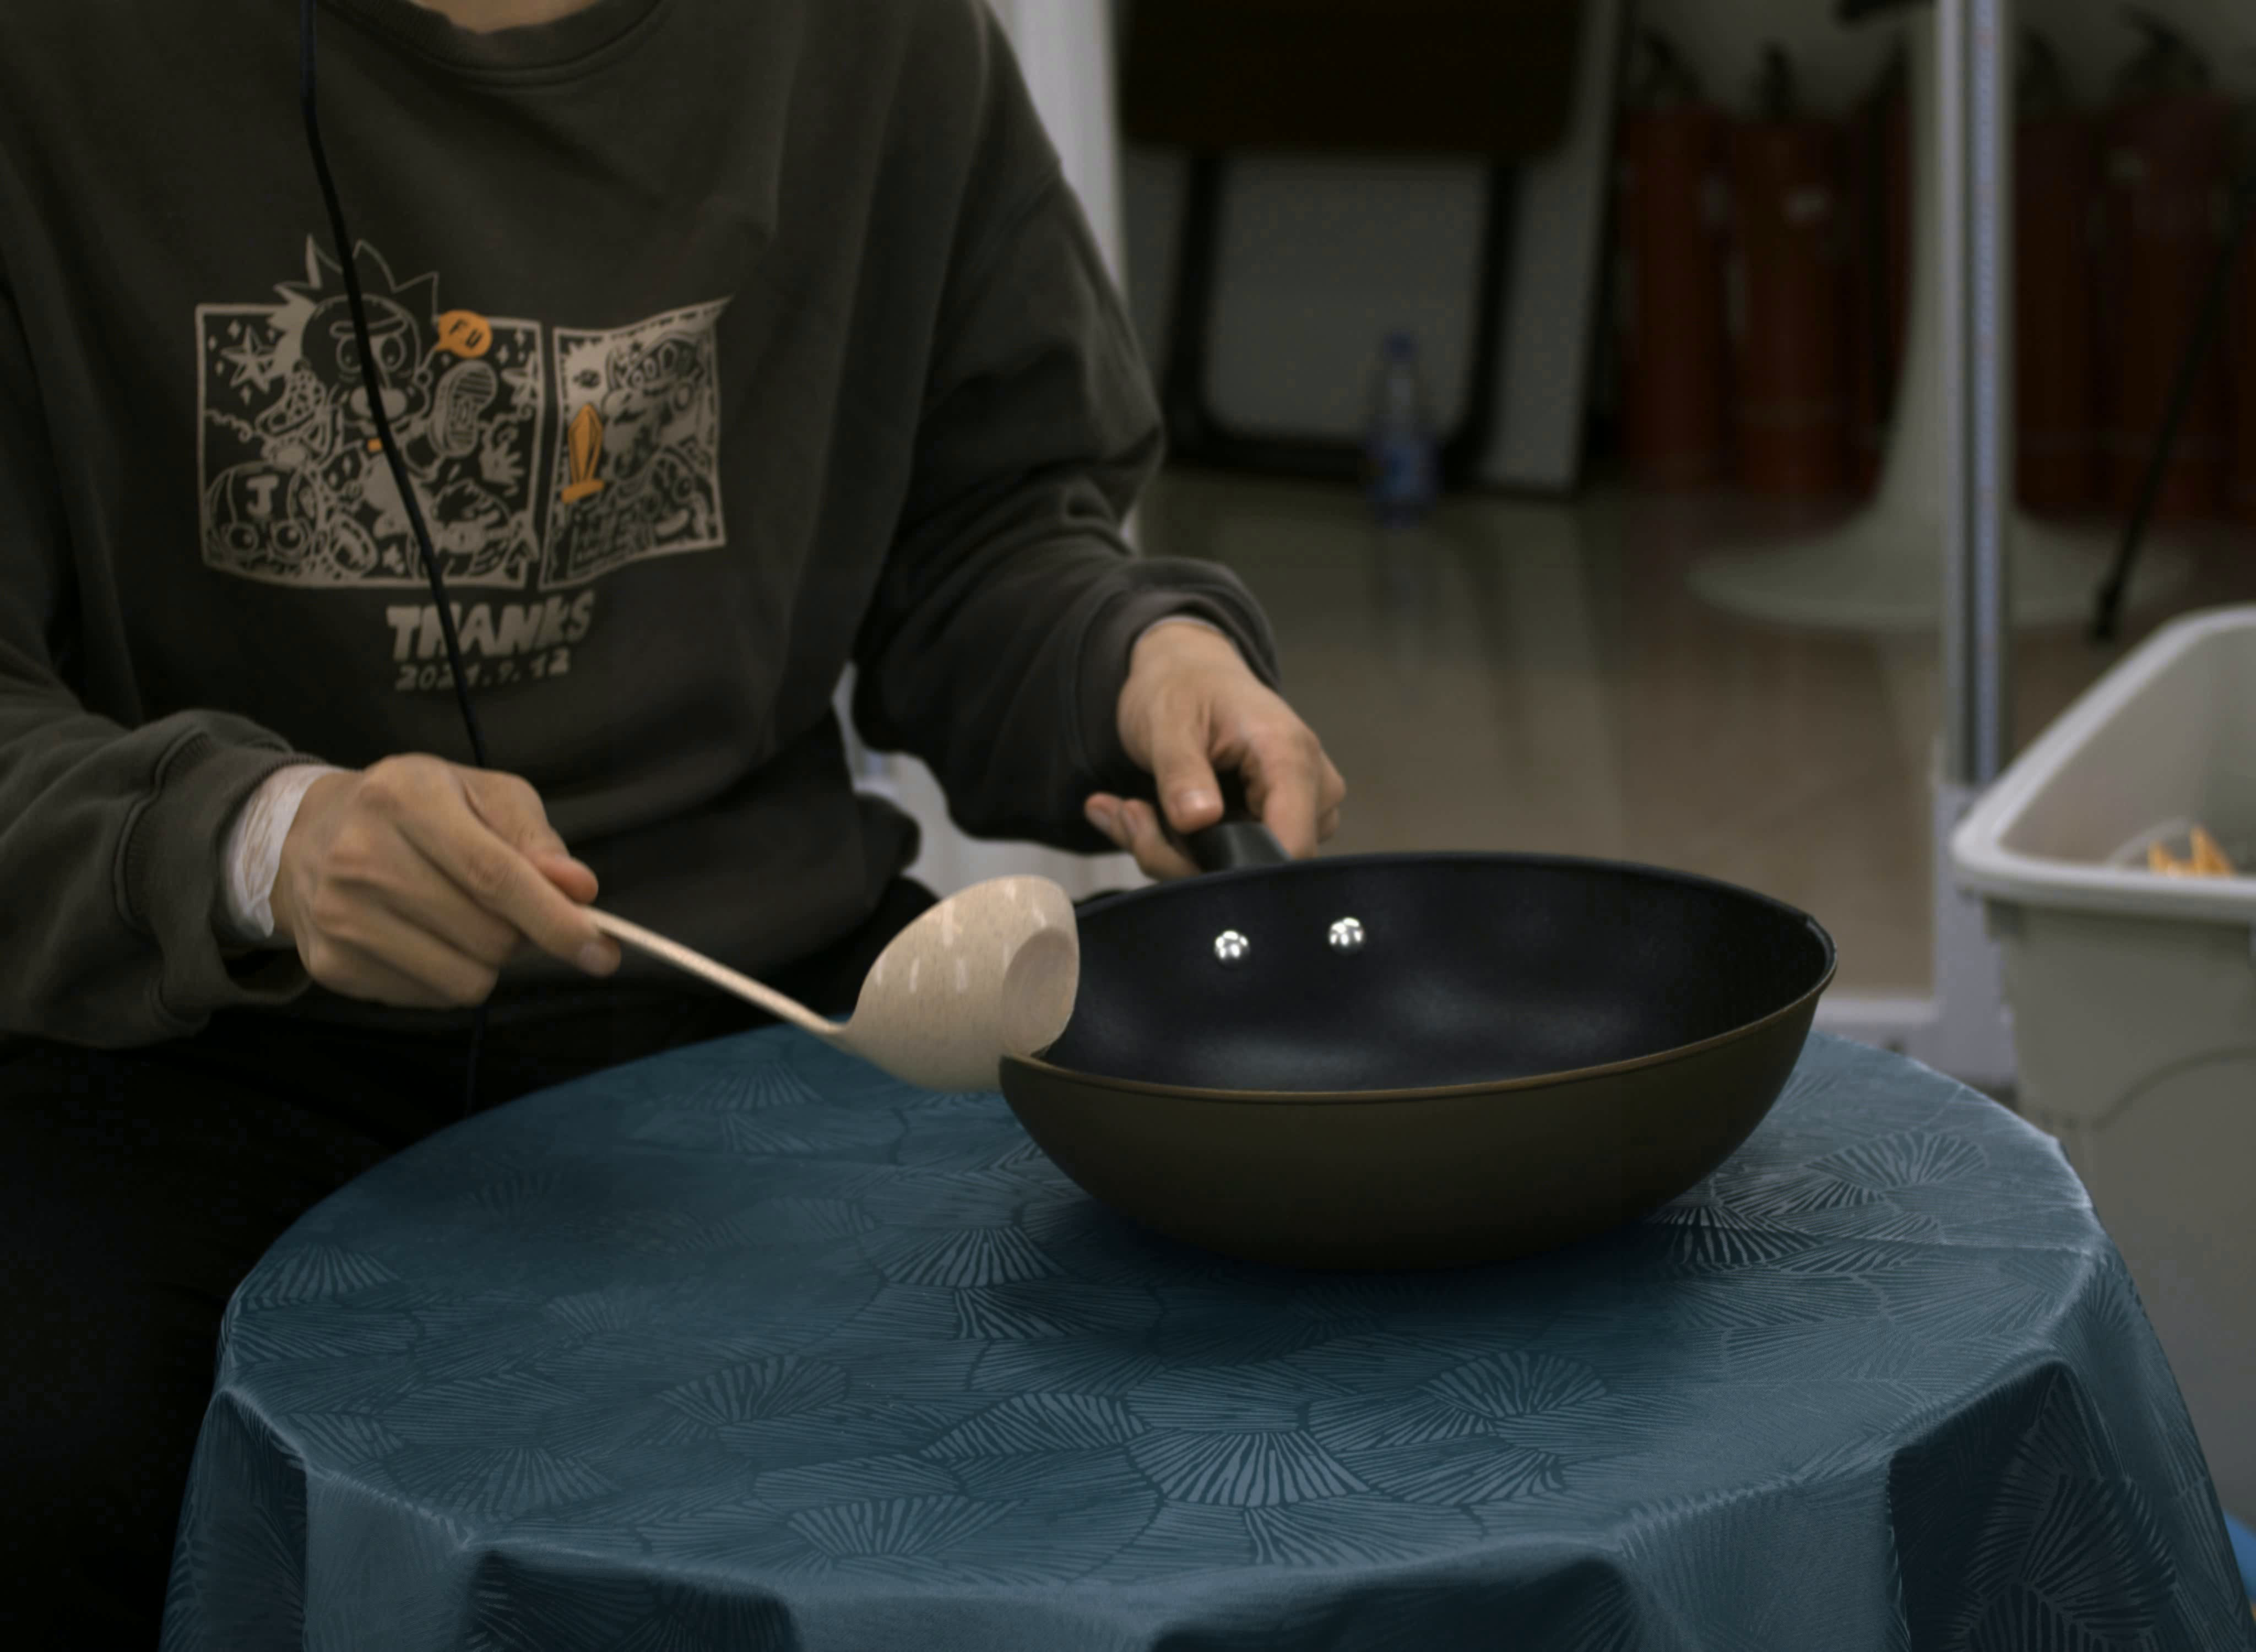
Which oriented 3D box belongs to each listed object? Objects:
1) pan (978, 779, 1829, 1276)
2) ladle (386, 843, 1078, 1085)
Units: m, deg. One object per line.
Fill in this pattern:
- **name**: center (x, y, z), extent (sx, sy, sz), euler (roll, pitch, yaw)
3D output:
- **pan**: center (0.063, 0.065, 1.817), extent (0.283, 0.088, 0.467), euler (-7, 13, -13)
- **ladle**: center (-0.123, 0.014, 1.665), extent (0.256, 0.073, 0.071), euler (20, -10, 36)
